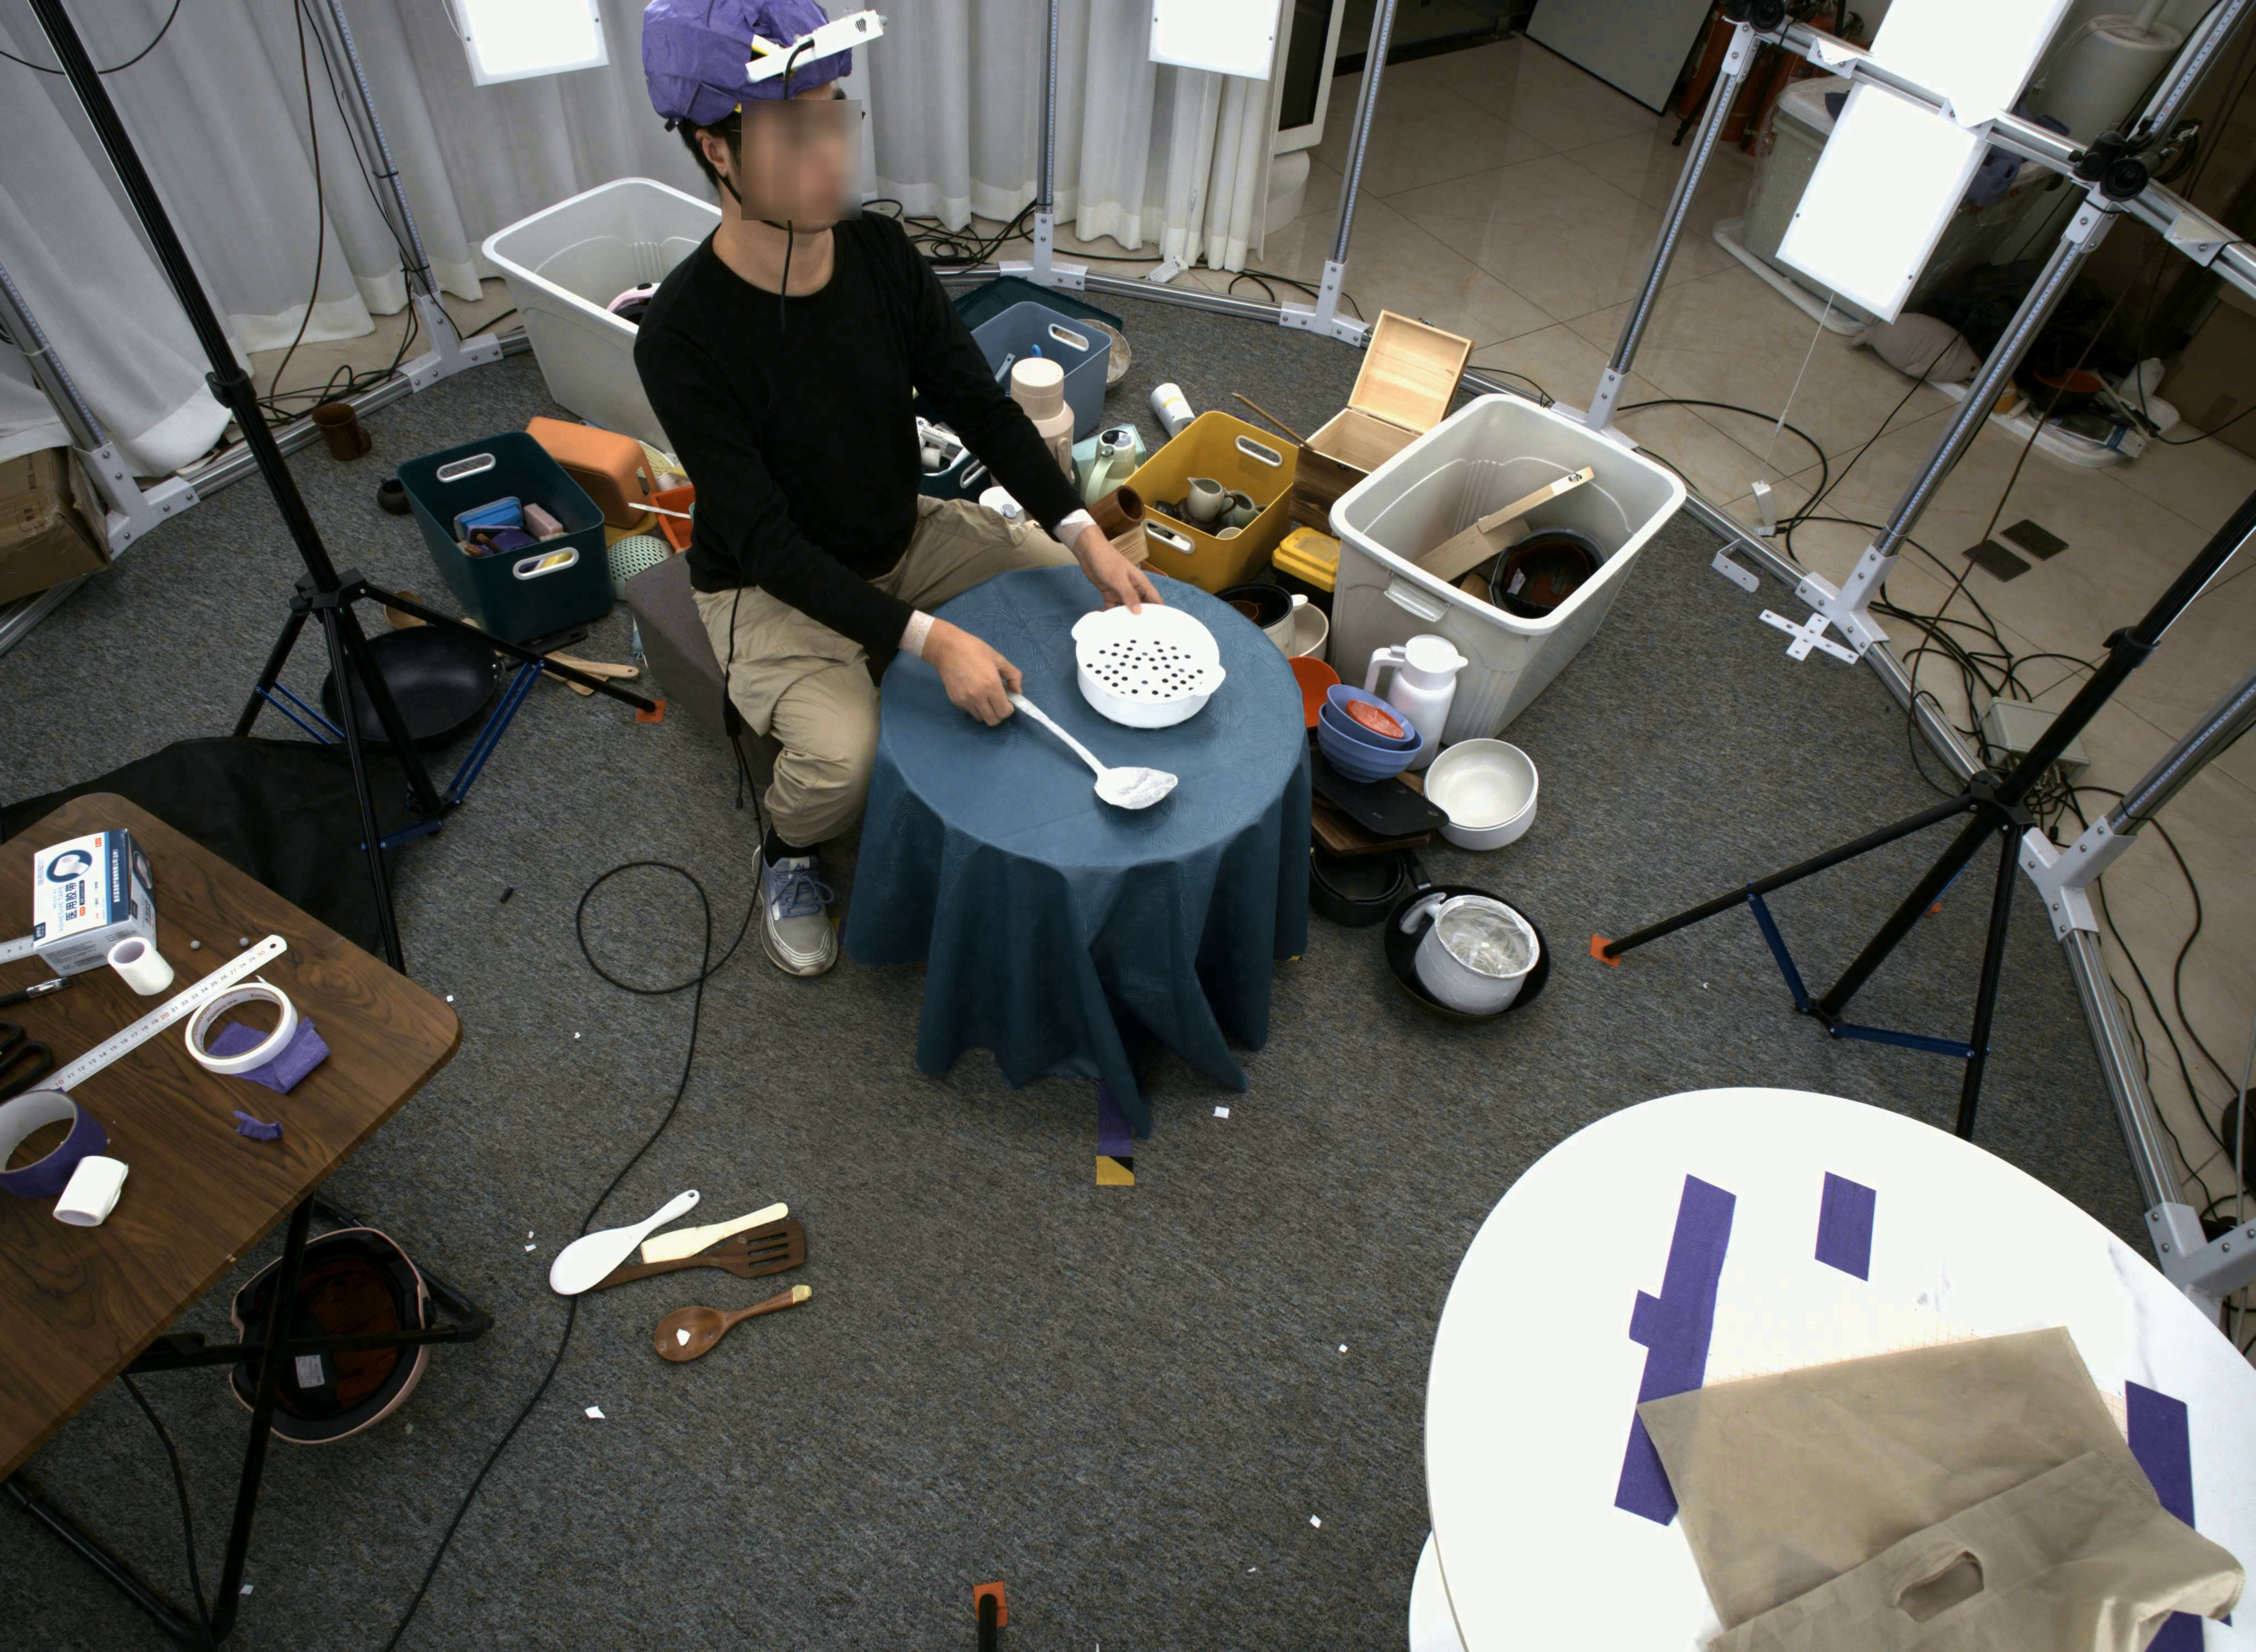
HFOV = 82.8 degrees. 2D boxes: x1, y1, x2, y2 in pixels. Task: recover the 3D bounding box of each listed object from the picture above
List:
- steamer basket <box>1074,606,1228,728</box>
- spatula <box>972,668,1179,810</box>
[{"bbox_3d":[0.030,-0.225,1.822,0.232,0.067,0.205,26,52,19],"label":"steamer basket"},{"bbox_3d":[-0.090,-0.130,1.745,0.370,0.044,0.099,38,53,22],"label":"spatula"}]
